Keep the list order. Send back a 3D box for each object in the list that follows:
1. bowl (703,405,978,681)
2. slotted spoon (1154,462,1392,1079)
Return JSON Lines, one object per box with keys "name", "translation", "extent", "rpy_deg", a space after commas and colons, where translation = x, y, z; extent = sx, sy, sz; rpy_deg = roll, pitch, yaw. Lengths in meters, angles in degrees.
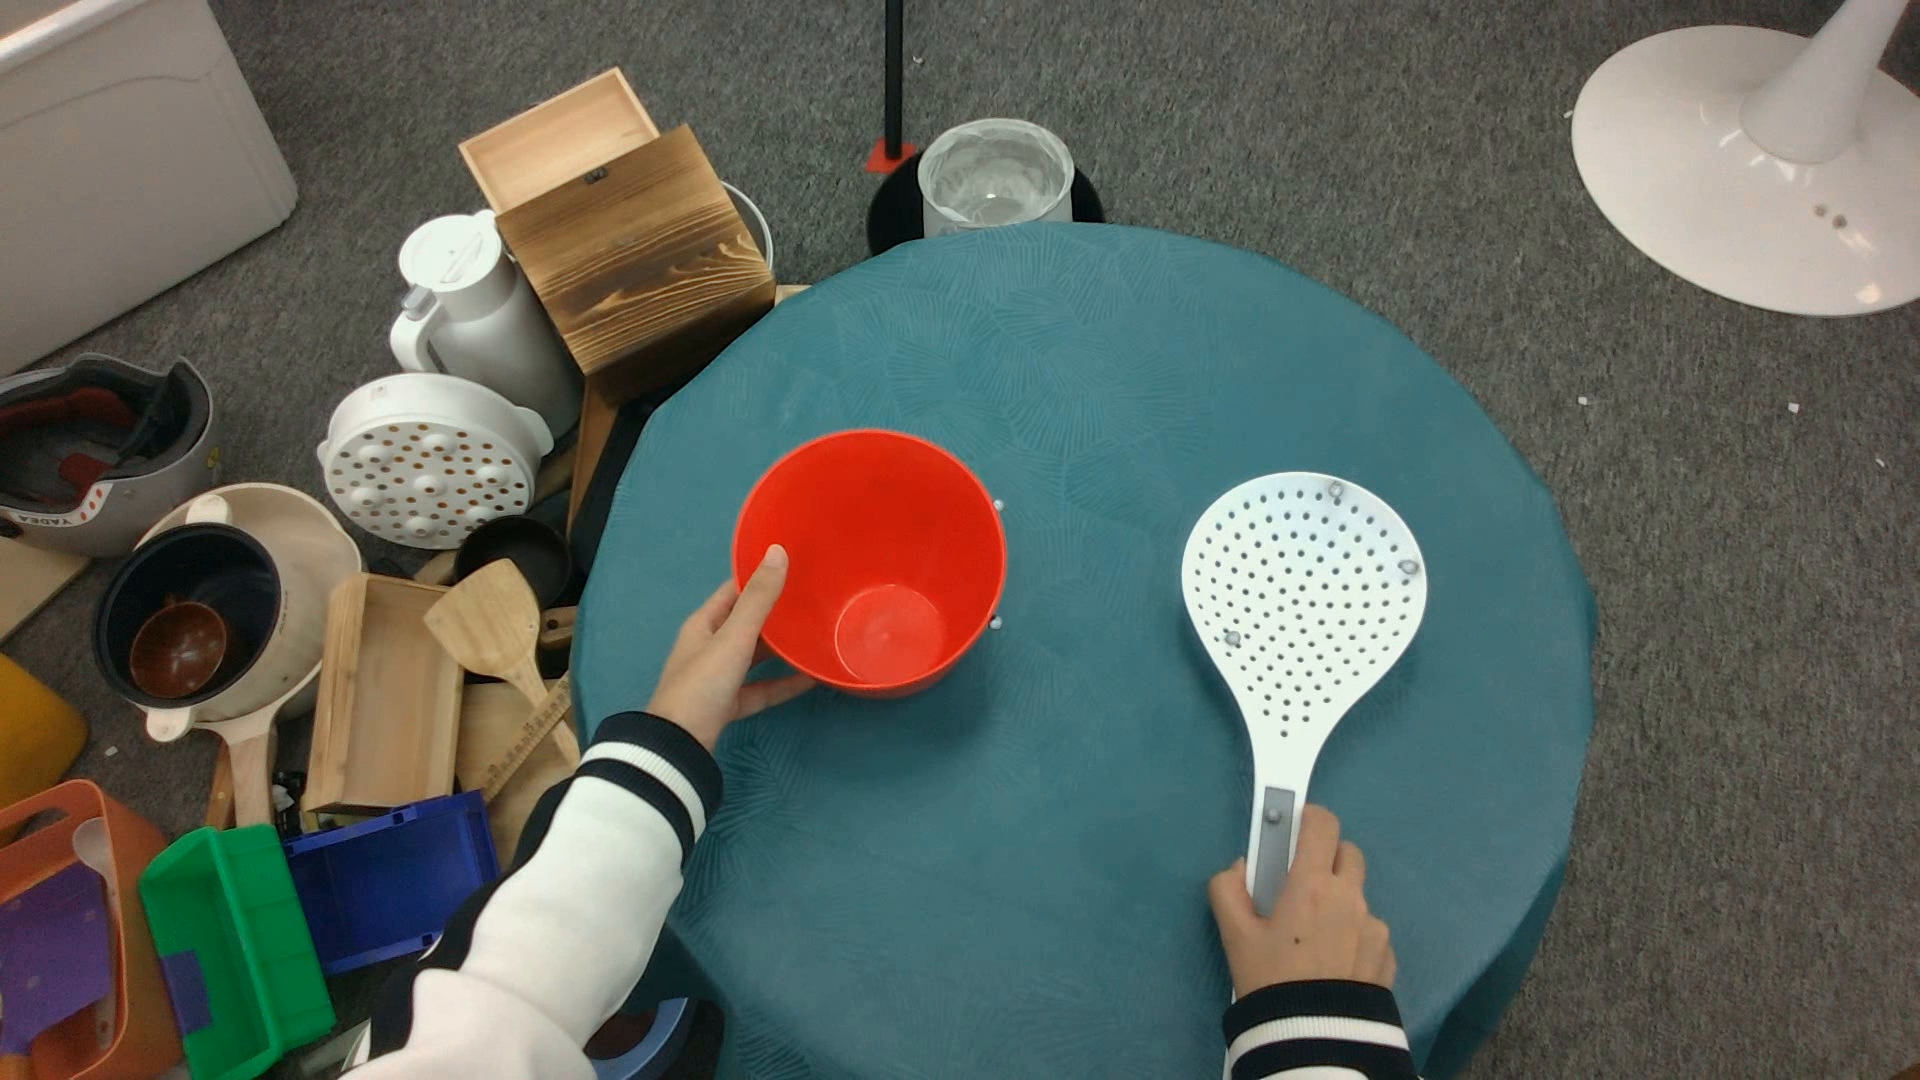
{"name": "bowl", "translation": [-0.068, 0.014, 0.773], "extent": [0.148, 0.104, 0.148], "rpy_deg": [4, 61, -7]}
{"name": "slotted spoon", "translation": [0.159, 0.116, 0.758], "extent": [0.136, 0.045, 0.351], "rpy_deg": [9, 62, 9]}
